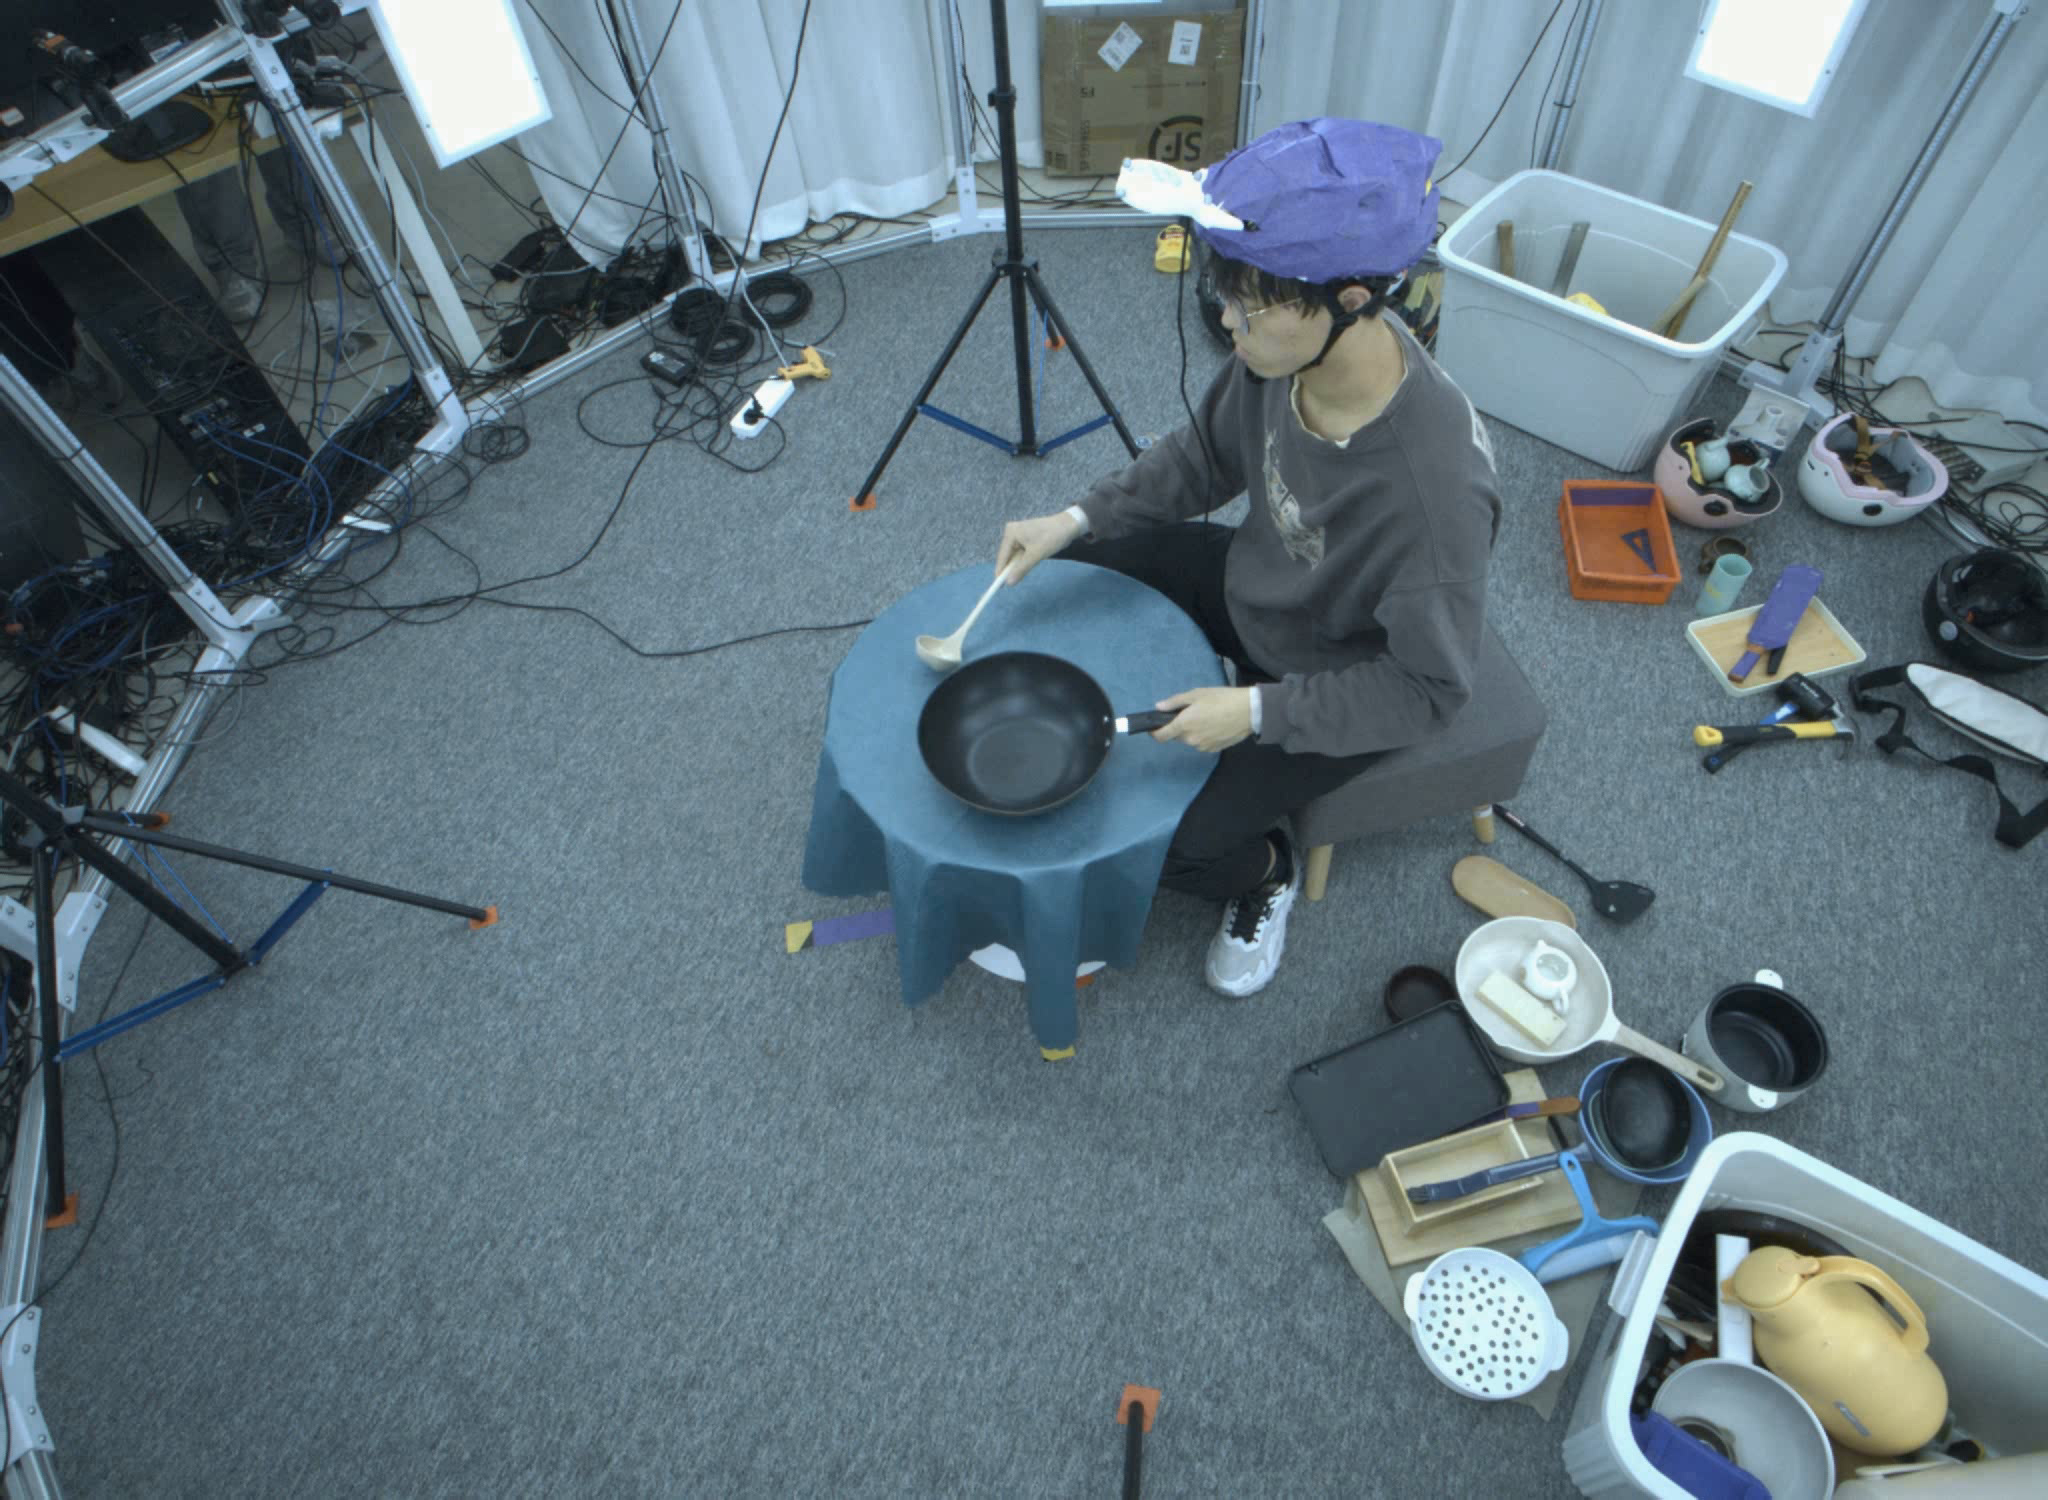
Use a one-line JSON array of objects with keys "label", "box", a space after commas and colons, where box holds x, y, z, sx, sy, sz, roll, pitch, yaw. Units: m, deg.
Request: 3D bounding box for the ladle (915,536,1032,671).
[{"label": "ladle", "box": [-0.074, -0.234, 1.851, 0.071, 0.074, 0.254, 33, 86, 22]}]

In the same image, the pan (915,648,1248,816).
[{"label": "pan", "box": [0.081, -0.017, 1.743, 0.464, 0.088, 0.284, -3, 54, -1]}]
